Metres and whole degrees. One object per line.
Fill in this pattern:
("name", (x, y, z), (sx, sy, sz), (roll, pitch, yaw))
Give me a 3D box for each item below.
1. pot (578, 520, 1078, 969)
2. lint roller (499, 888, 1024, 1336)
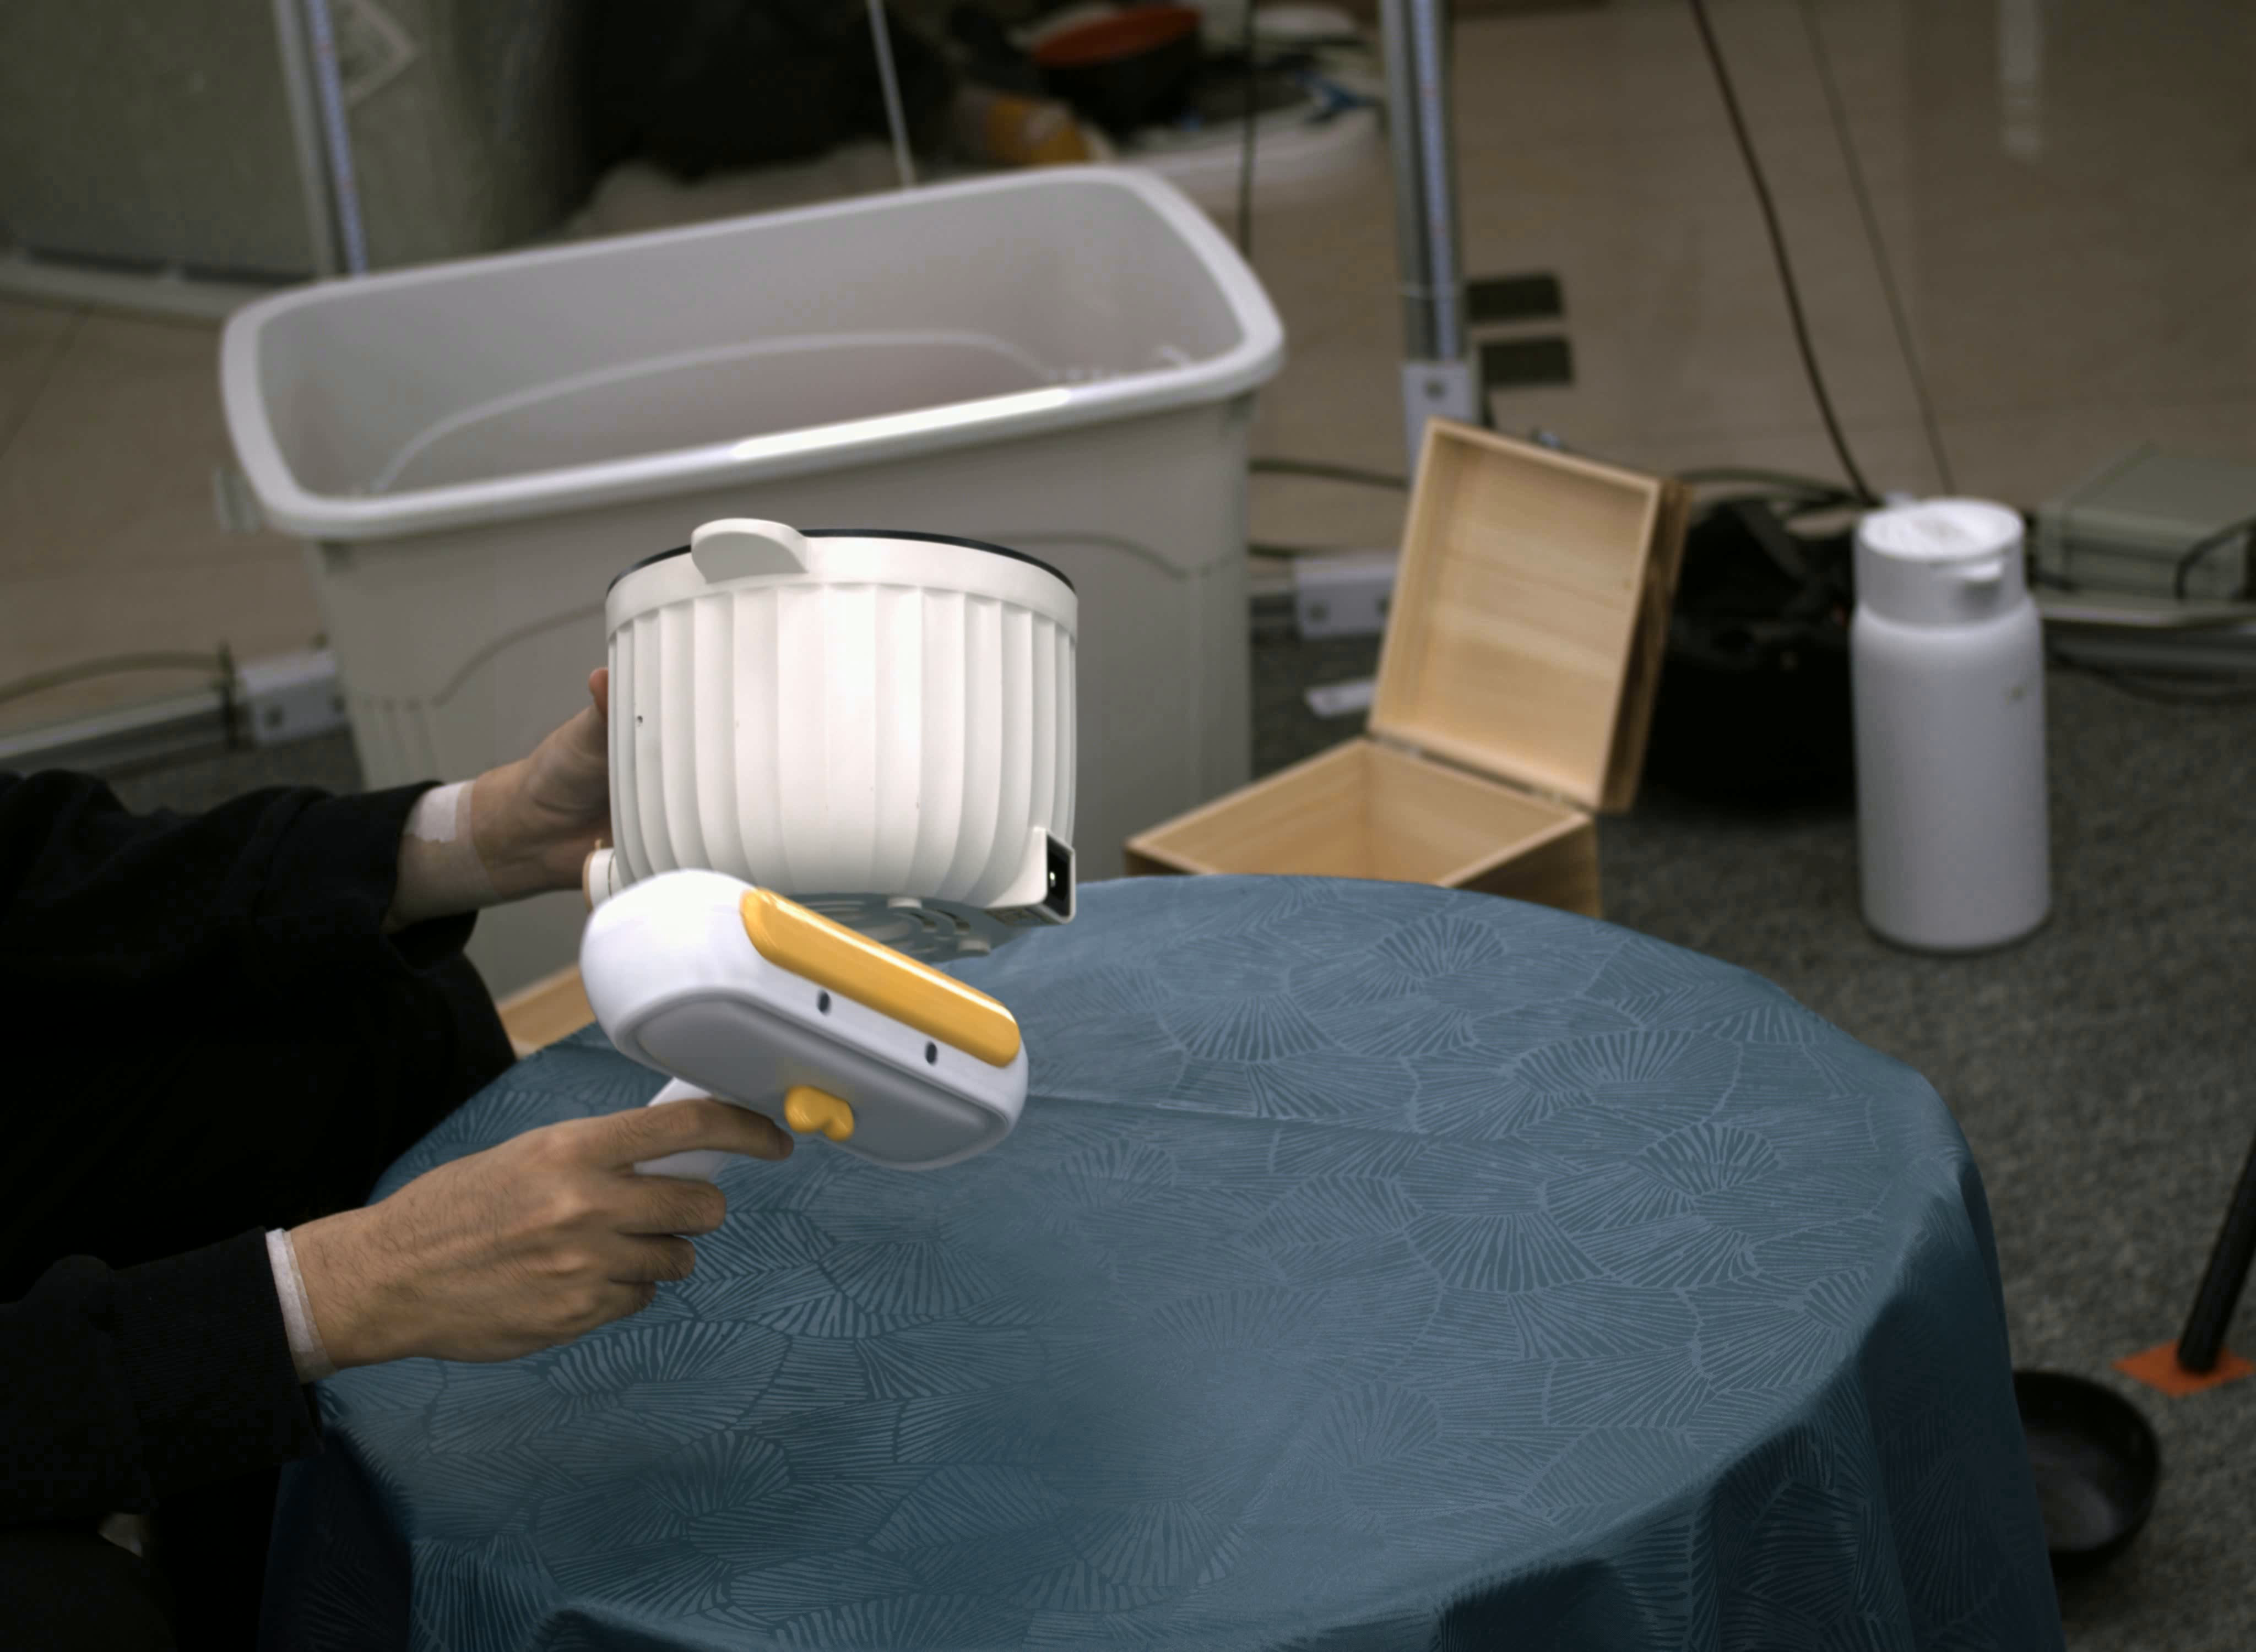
("pot", (-0.115, -0.023, 2.152), (0.190, 0.141, 0.242), (-2, -15, 17))
("lint roller", (-0.152, 0.106, 1.966), (0.194, 0.194, 0.073), (18, 44, -49))
